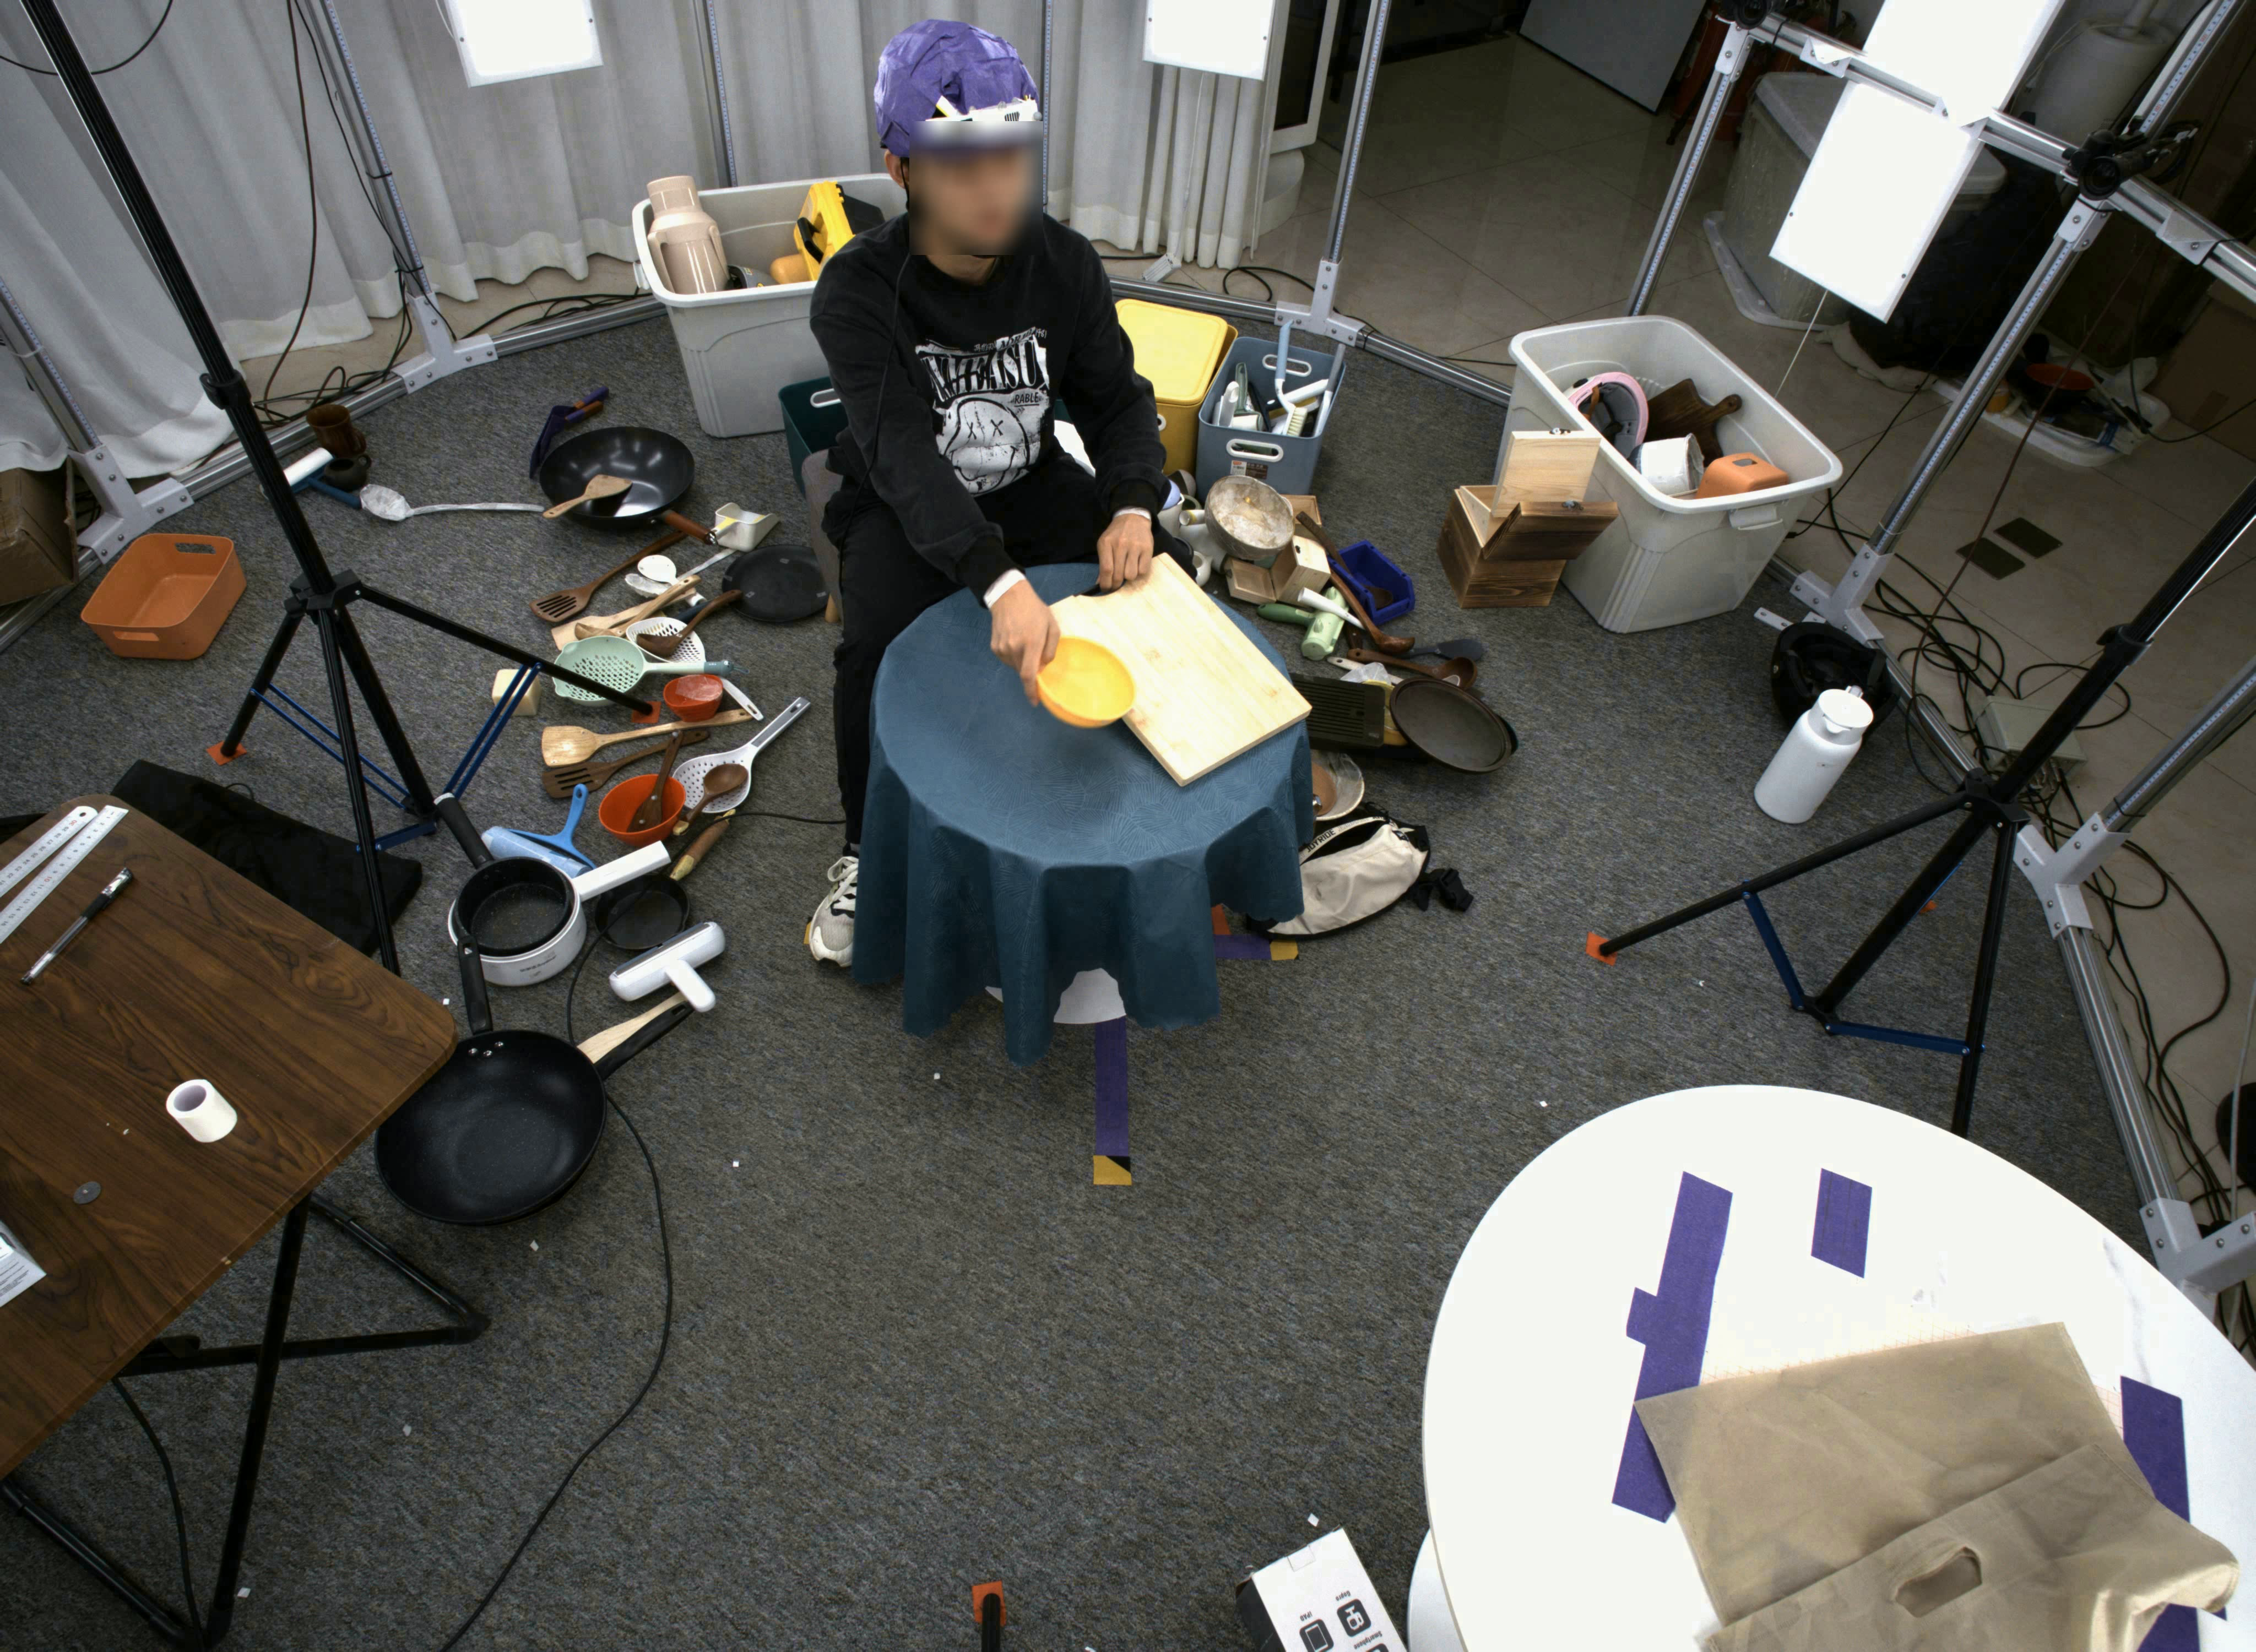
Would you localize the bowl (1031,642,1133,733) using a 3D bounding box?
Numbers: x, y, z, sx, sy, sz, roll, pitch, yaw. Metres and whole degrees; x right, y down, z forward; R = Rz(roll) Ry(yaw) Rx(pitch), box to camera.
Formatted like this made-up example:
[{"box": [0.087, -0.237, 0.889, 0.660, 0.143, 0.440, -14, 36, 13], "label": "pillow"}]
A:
[{"box": [-0.070, -0.172, 1.708, 0.144, 0.059, 0.149, 15, 46, -17], "label": "bowl"}]

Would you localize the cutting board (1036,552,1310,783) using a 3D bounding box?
[{"box": [0.063, -0.235, 1.848, 0.252, 0.023, 0.354, -30, 65, -27], "label": "cutting board"}]
